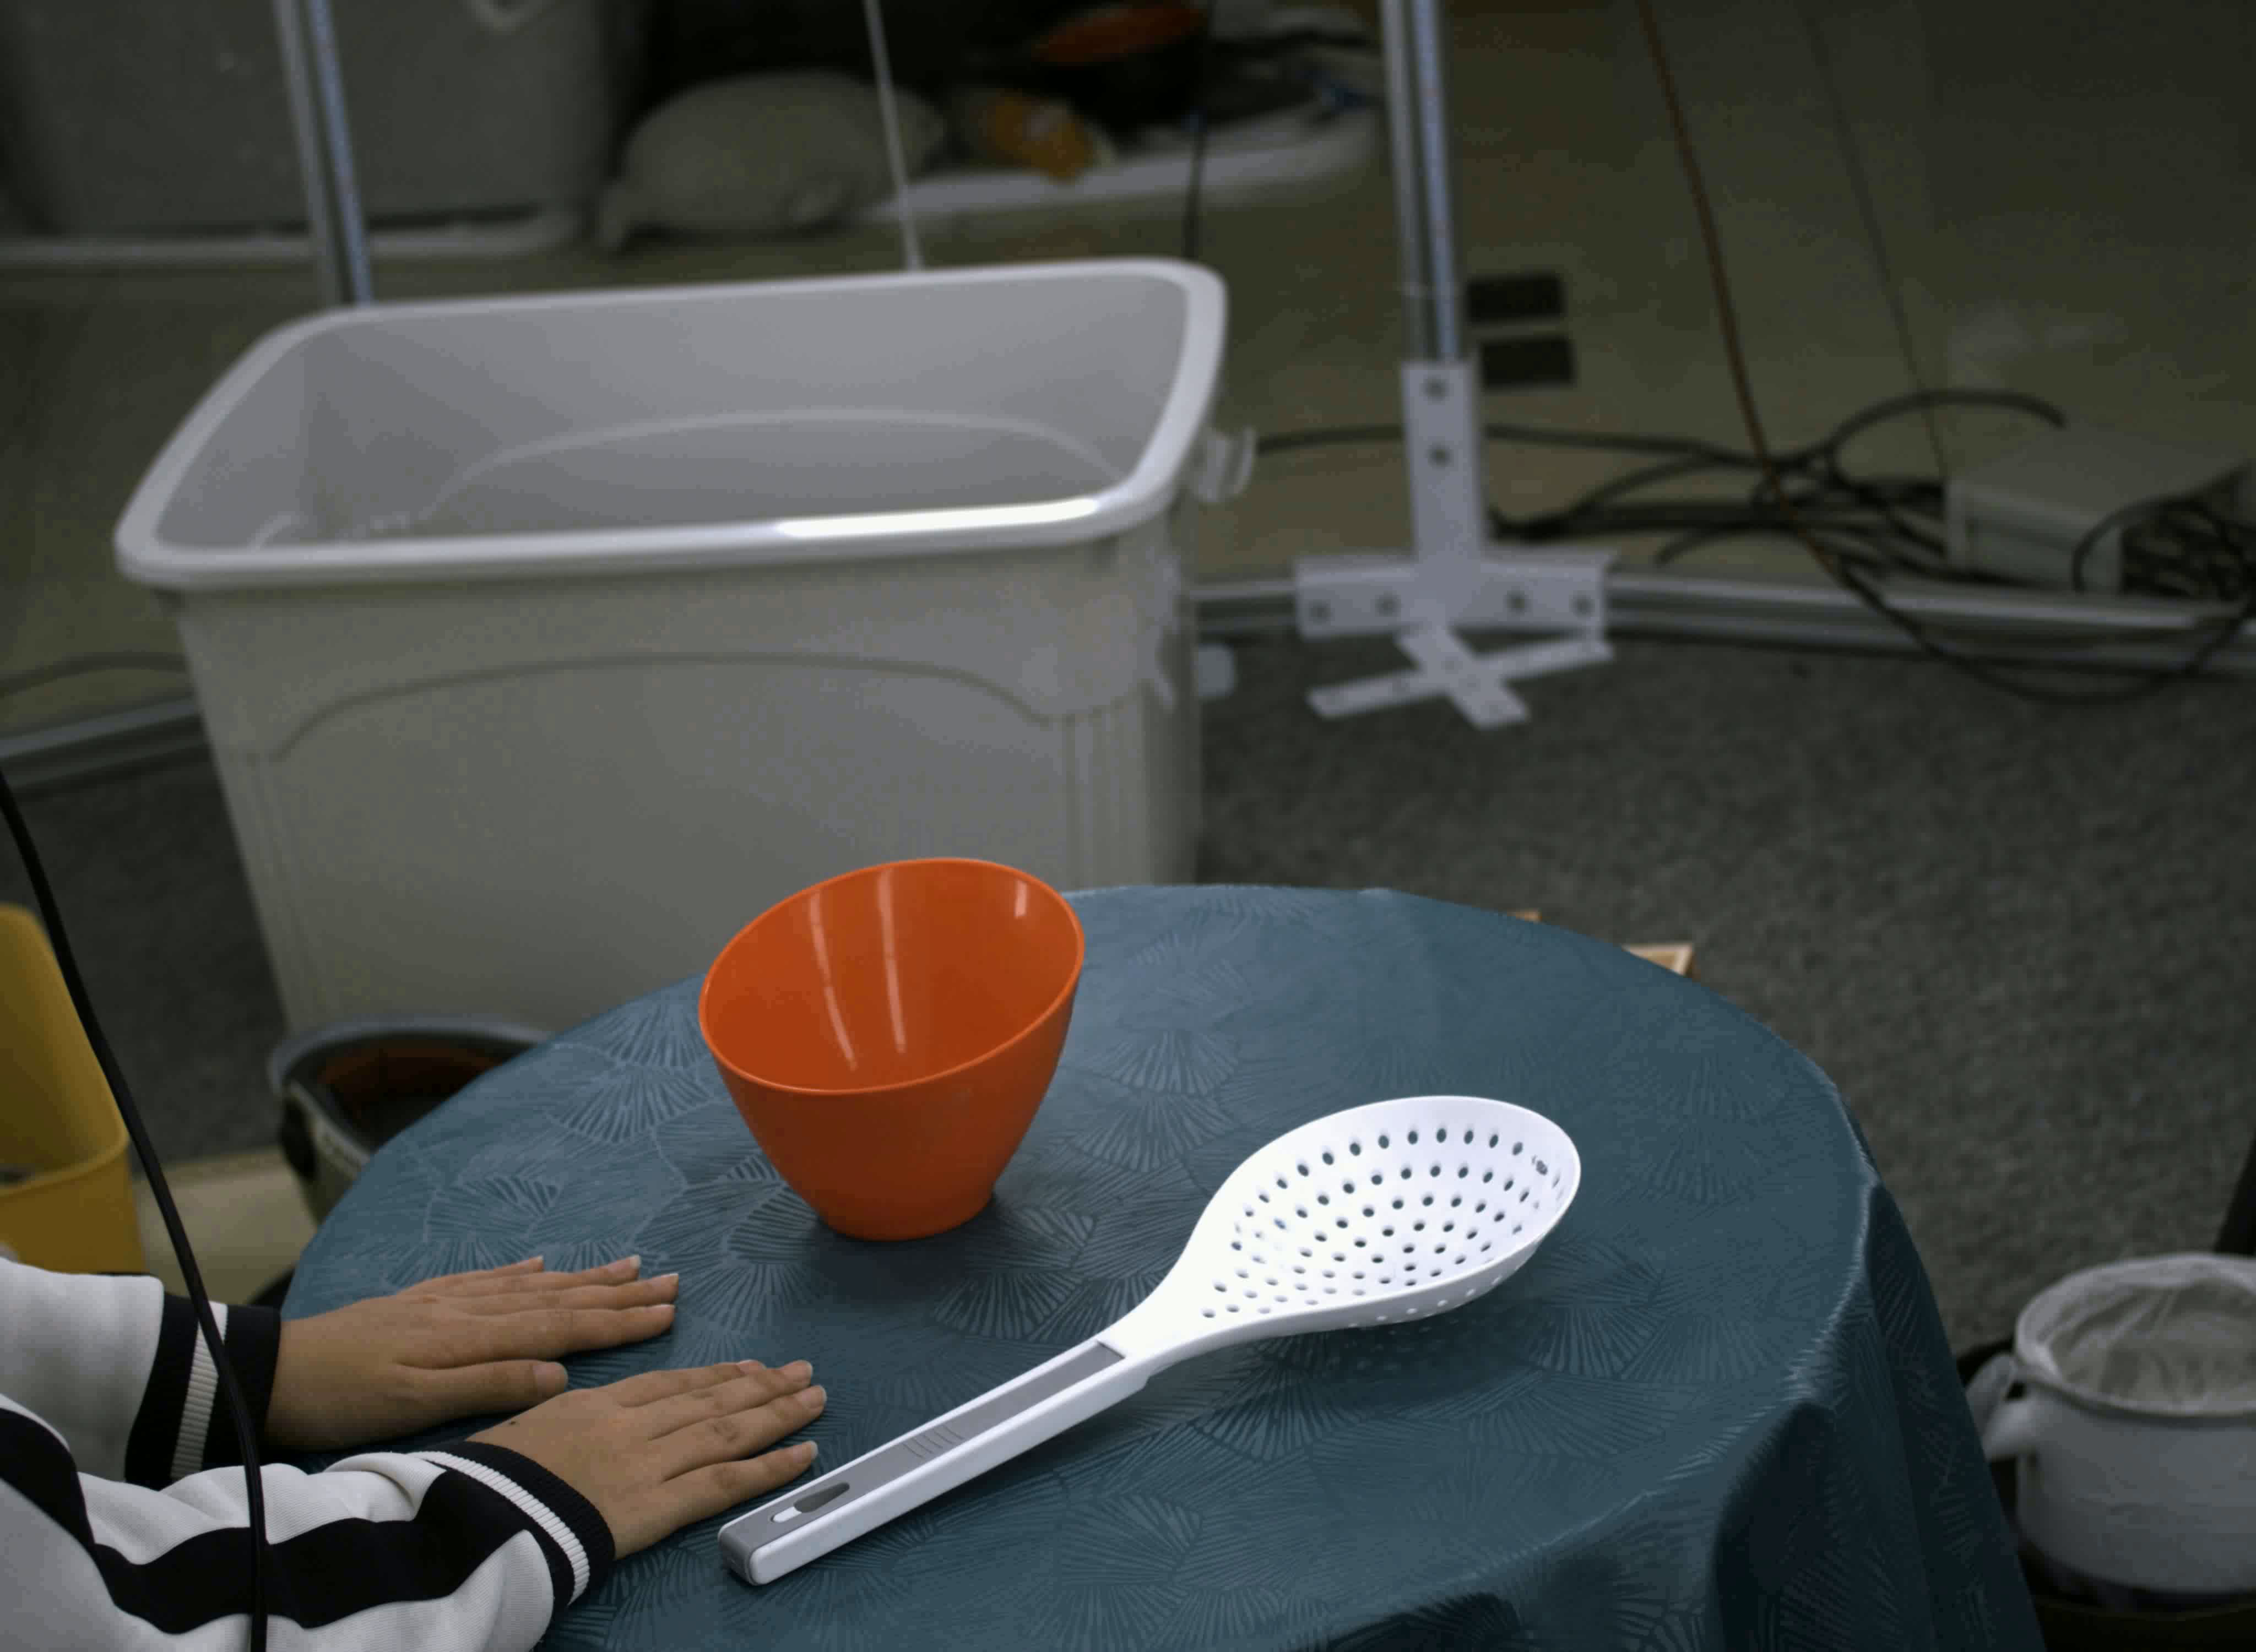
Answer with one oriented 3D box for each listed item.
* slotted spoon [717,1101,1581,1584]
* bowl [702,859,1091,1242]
[{"bbox_3d":[0.009,0.182,2.000,0.347,0.046,0.135,-21,27,-27],"label":"slotted spoon"},{"bbox_3d":[-0.085,0.092,2.147,0.148,0.106,0.146,-3,28,1],"label":"bowl"}]
